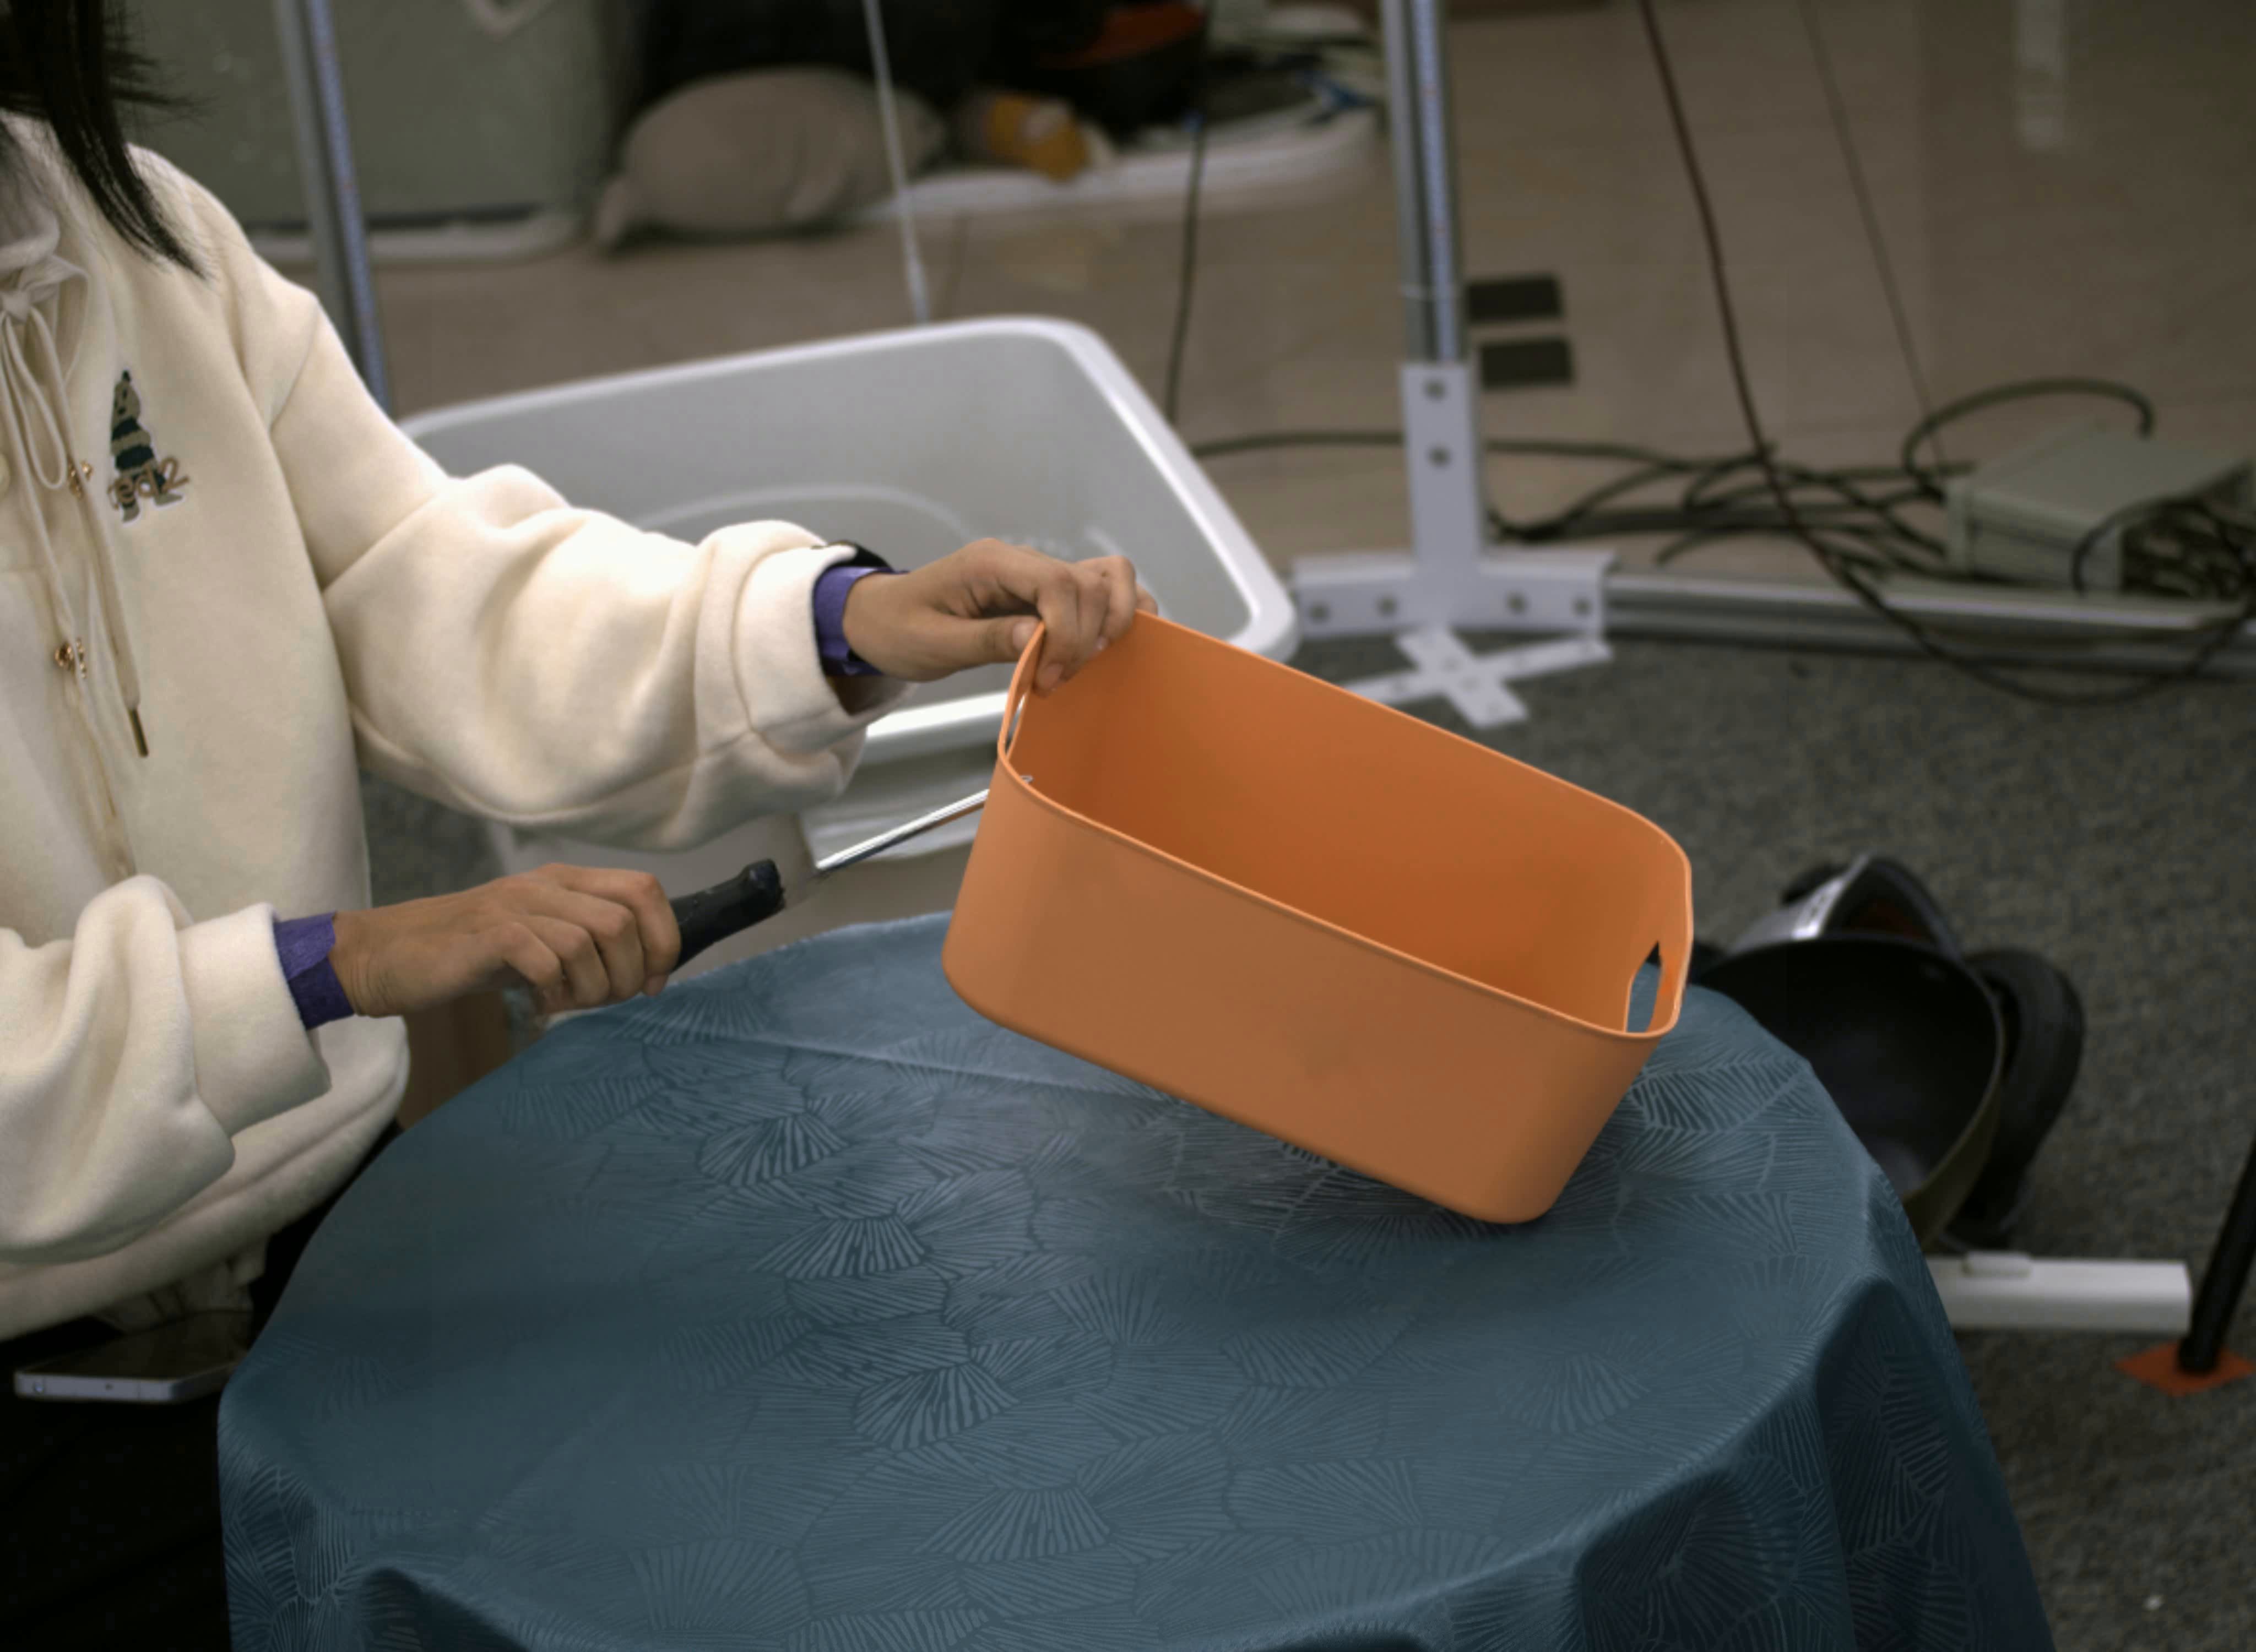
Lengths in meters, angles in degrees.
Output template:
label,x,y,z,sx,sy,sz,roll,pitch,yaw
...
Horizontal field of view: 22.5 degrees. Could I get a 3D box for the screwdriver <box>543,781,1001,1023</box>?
label,x,y,z,sx,sy,sz,roll,pitch,yaw
screwdriver,-0.124,0.025,2.086,0.196,0.032,0.031,-23,25,4

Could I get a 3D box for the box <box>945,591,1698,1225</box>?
label,x,y,z,sx,sy,sz,roll,pitch,yaw
box,0.069,0.032,2.125,0.273,0.104,0.196,23,28,-3
